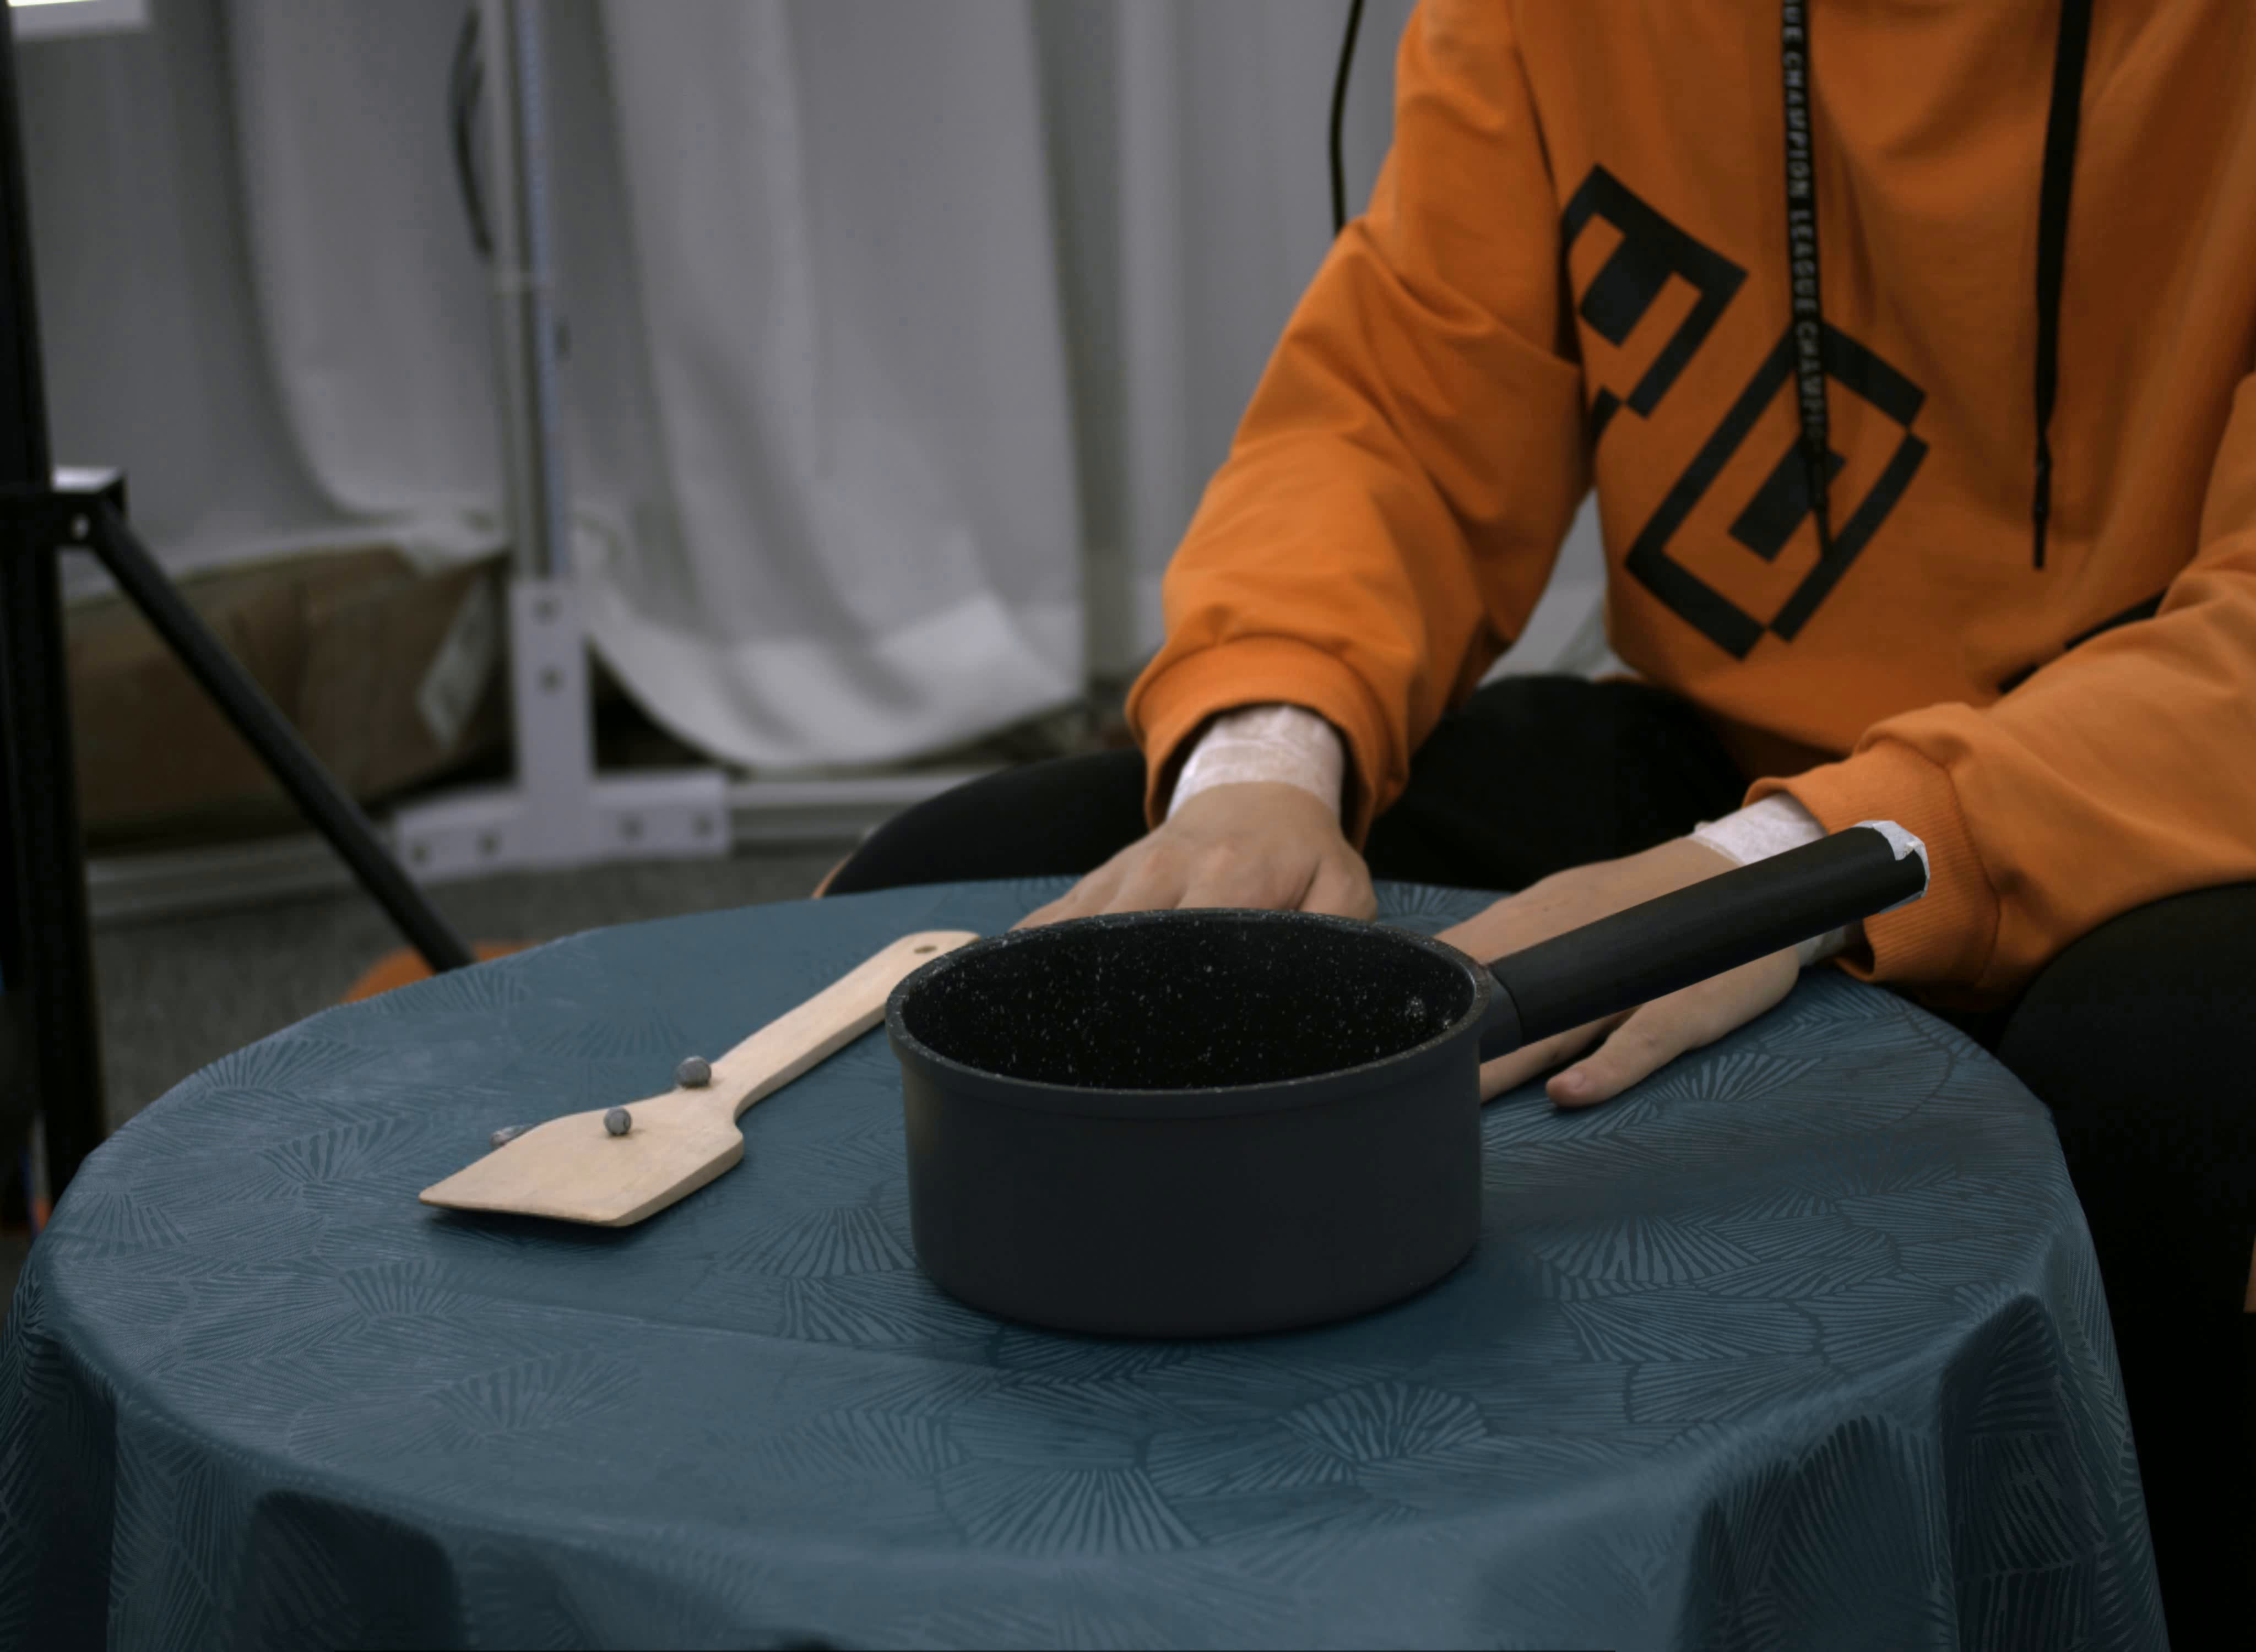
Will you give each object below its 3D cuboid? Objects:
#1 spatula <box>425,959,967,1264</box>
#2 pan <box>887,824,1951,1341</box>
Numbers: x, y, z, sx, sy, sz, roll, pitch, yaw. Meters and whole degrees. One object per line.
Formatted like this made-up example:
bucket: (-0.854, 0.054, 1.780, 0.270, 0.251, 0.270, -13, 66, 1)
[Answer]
spatula: (-0.119, 0.087, 1.668, 0.073, 0.010, 0.289, 2, 17, 25)
pan: (0.091, 0.069, 1.528, 0.323, 0.086, 0.175, -10, 18, -20)
